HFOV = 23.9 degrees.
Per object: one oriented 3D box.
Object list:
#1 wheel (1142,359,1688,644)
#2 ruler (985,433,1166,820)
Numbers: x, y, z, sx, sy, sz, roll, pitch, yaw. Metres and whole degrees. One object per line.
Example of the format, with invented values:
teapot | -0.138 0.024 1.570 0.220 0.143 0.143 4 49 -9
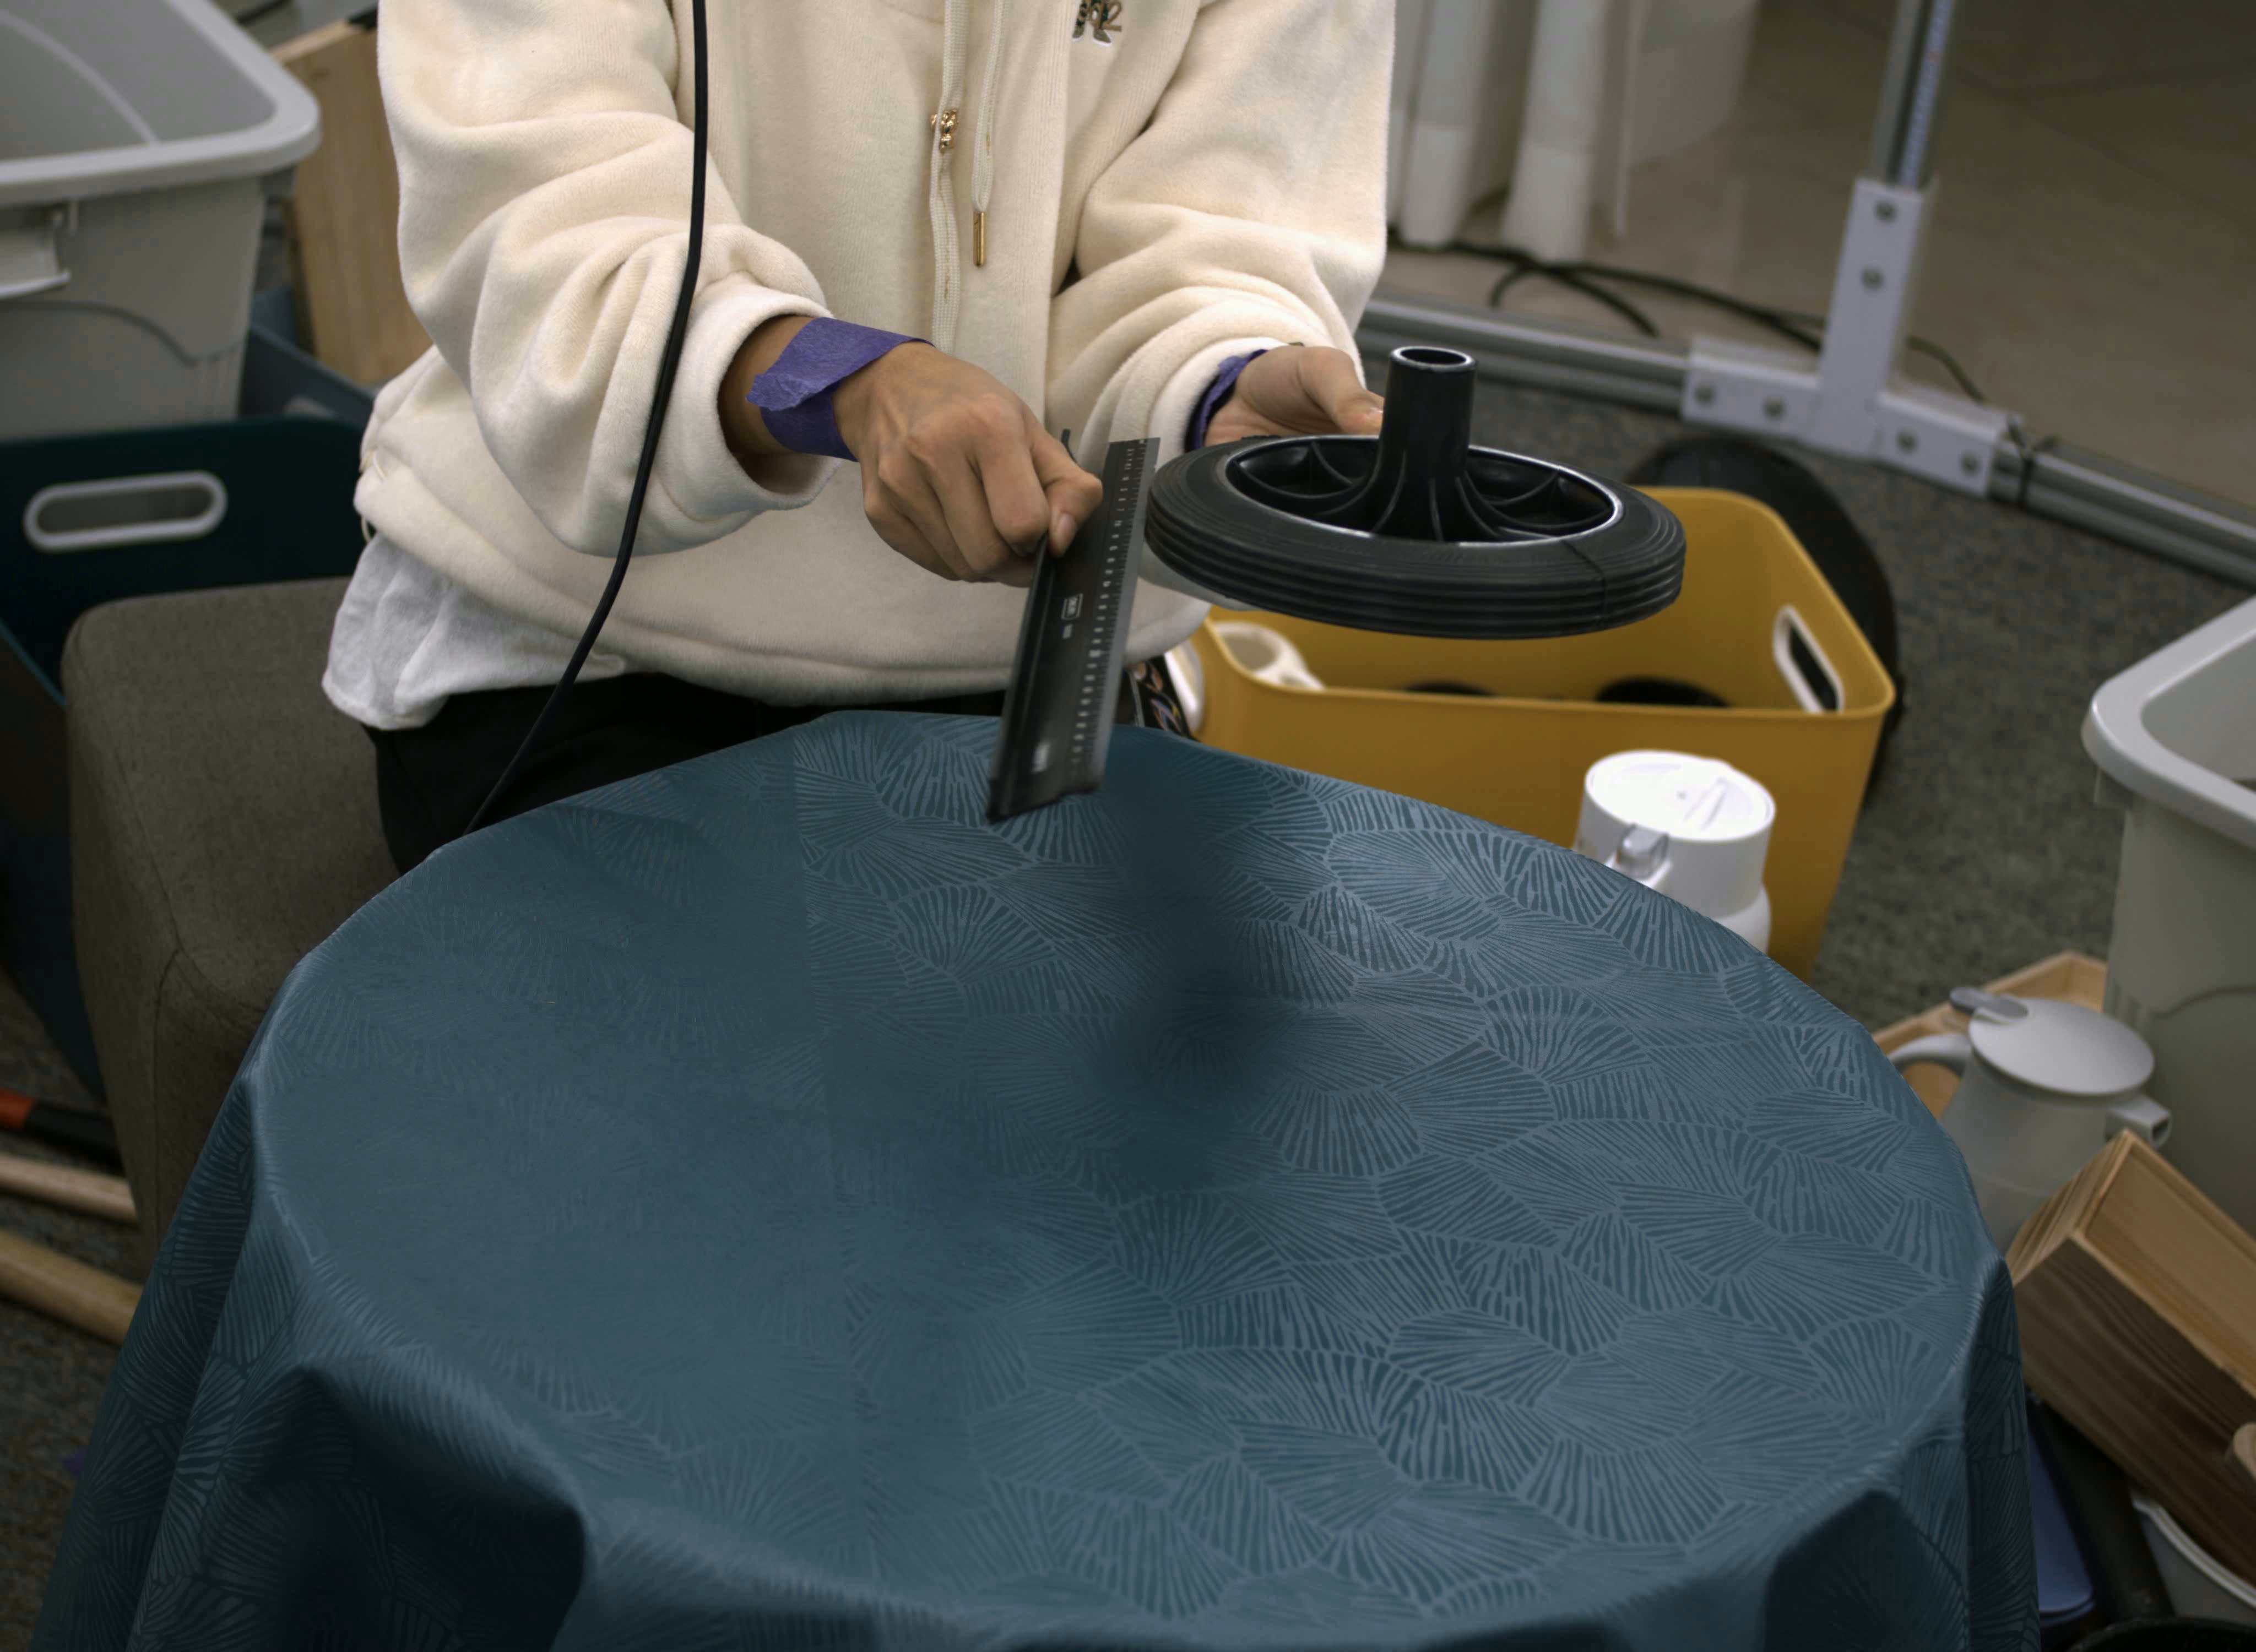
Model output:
wheel | 0.101 -0.119 1.842 0.189 0.079 0.188 4 18 -4
ruler | -0.017 -0.076 1.778 0.039 0.017 0.314 -15 22 11
